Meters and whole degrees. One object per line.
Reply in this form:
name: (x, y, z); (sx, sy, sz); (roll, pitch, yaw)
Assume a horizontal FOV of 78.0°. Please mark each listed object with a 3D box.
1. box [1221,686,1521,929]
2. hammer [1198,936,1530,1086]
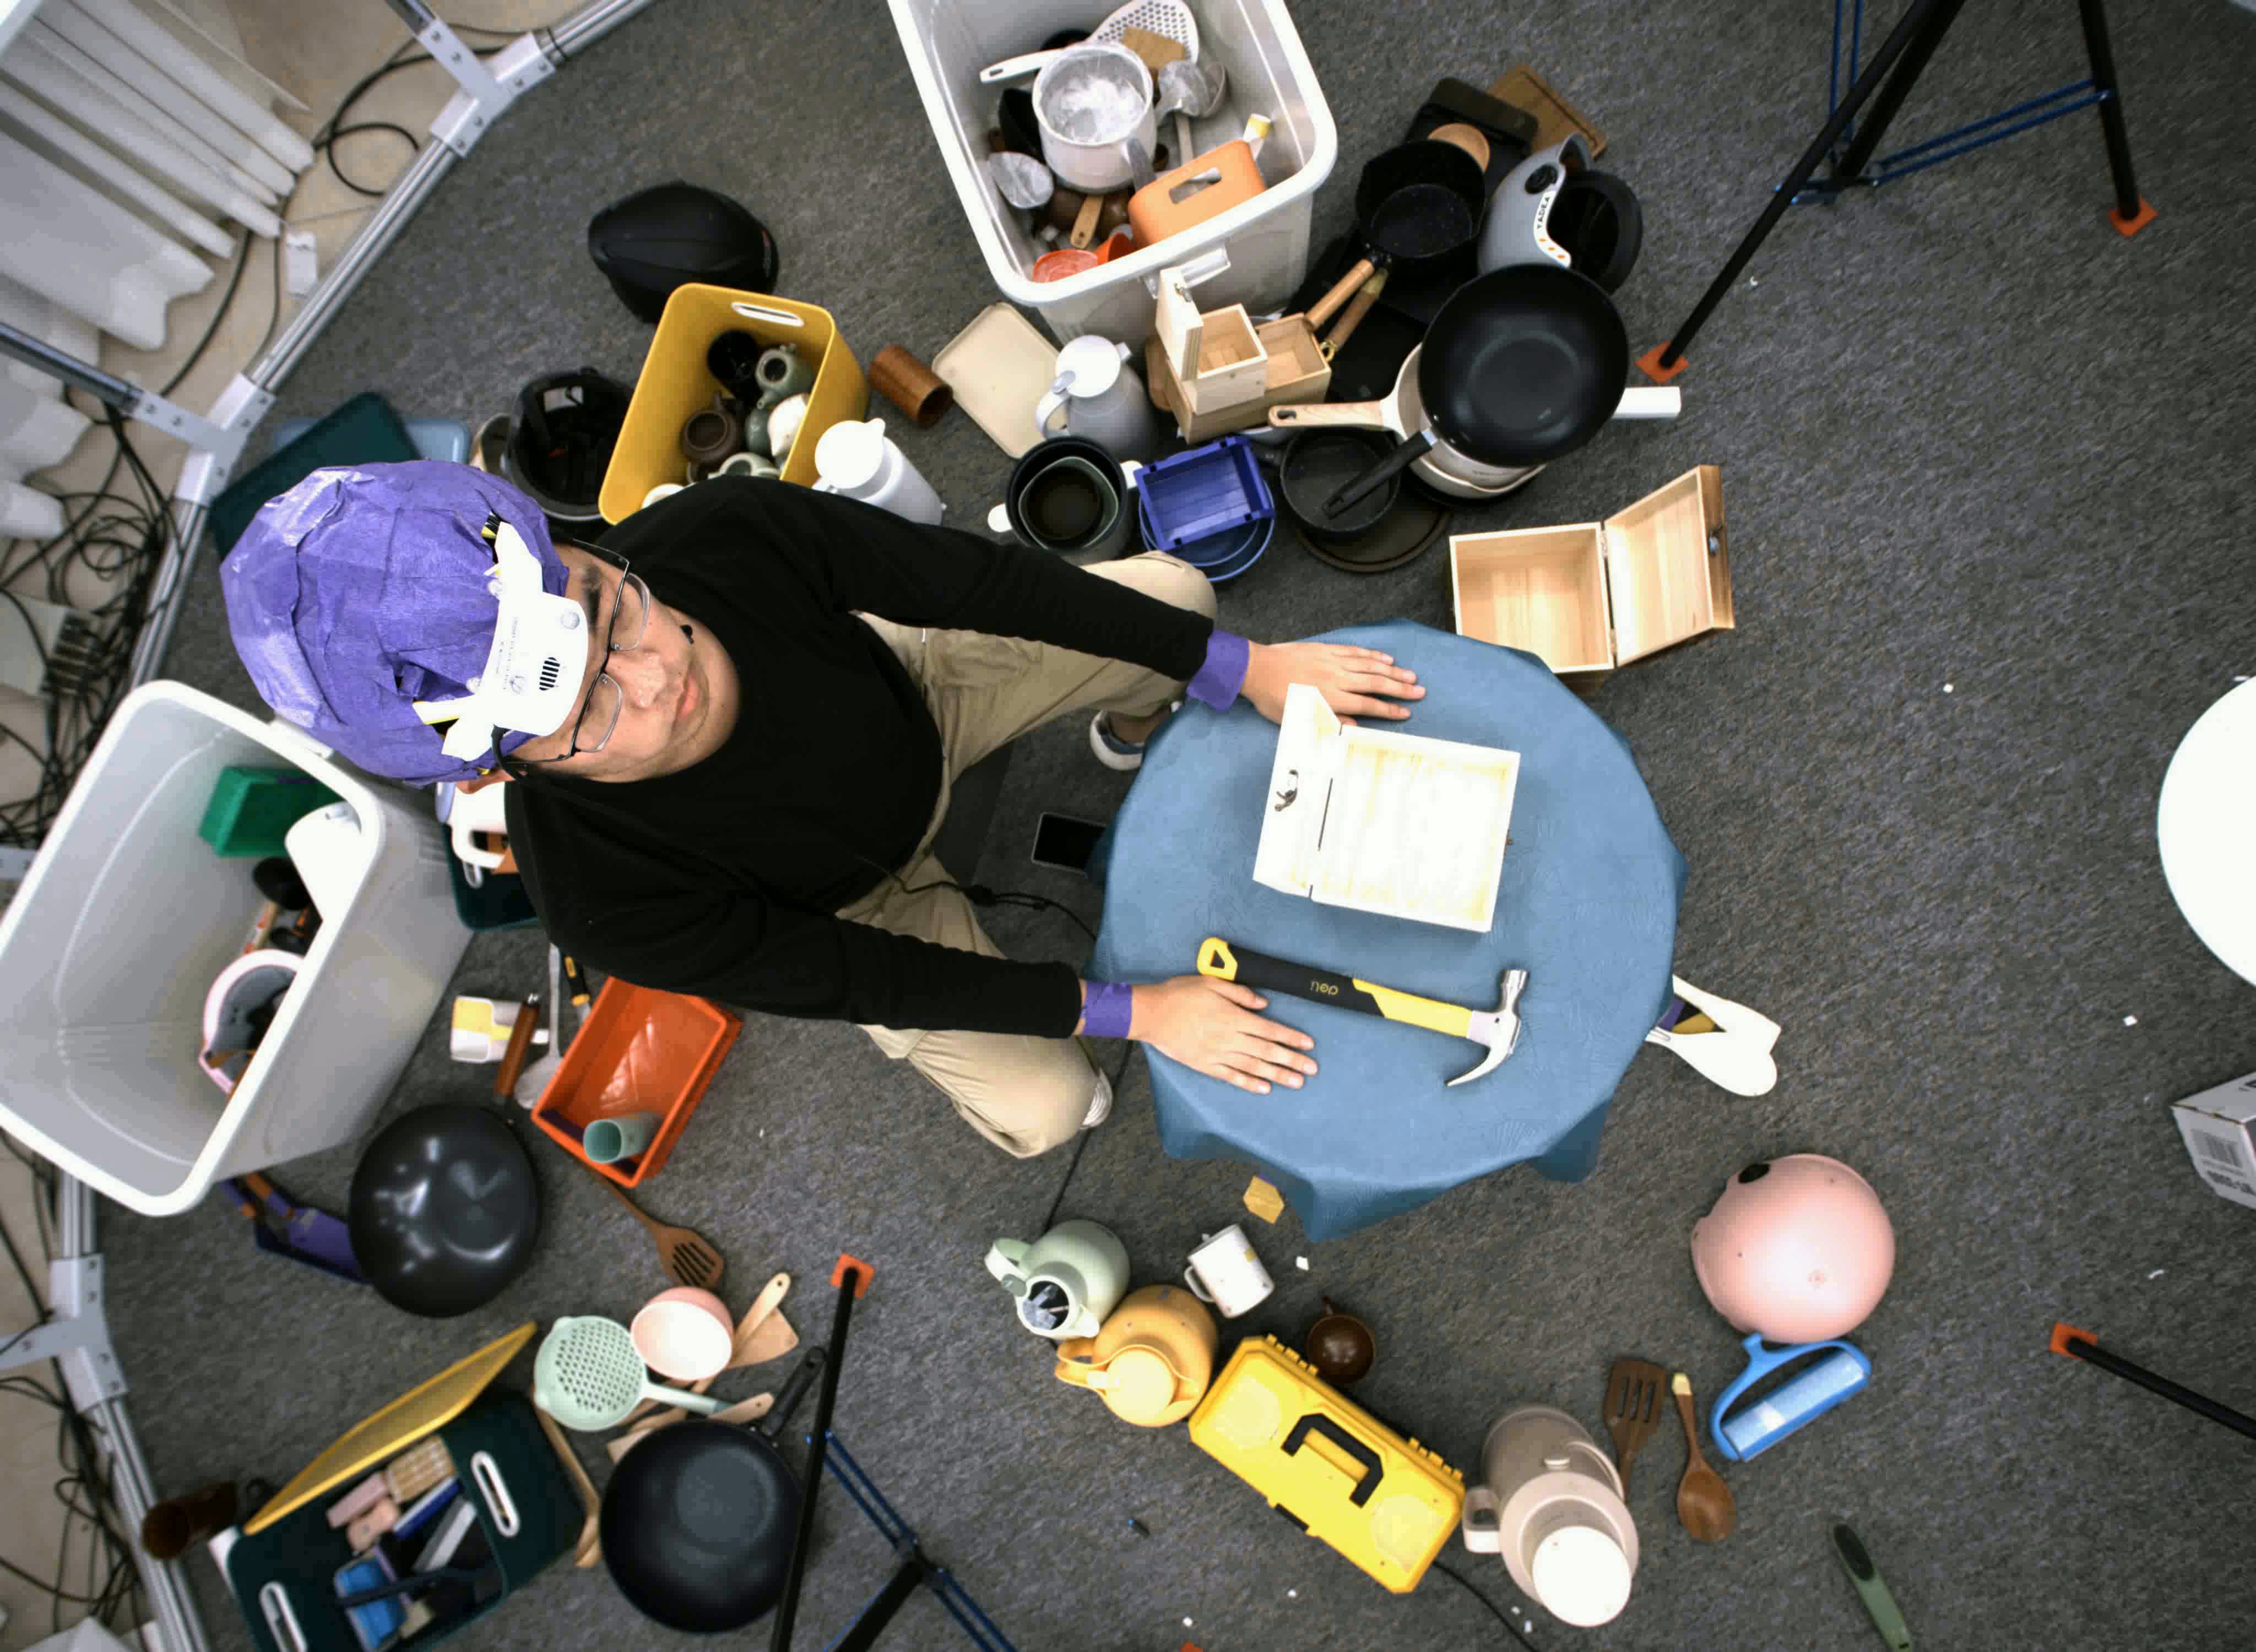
box: (0.248, -0.011, 1.343); (0.266, 0.253, 0.181); (9, 89, 11)
hammer: (0.237, 0.174, 1.444); (0.339, 0.032, 0.131); (14, 90, 10)
